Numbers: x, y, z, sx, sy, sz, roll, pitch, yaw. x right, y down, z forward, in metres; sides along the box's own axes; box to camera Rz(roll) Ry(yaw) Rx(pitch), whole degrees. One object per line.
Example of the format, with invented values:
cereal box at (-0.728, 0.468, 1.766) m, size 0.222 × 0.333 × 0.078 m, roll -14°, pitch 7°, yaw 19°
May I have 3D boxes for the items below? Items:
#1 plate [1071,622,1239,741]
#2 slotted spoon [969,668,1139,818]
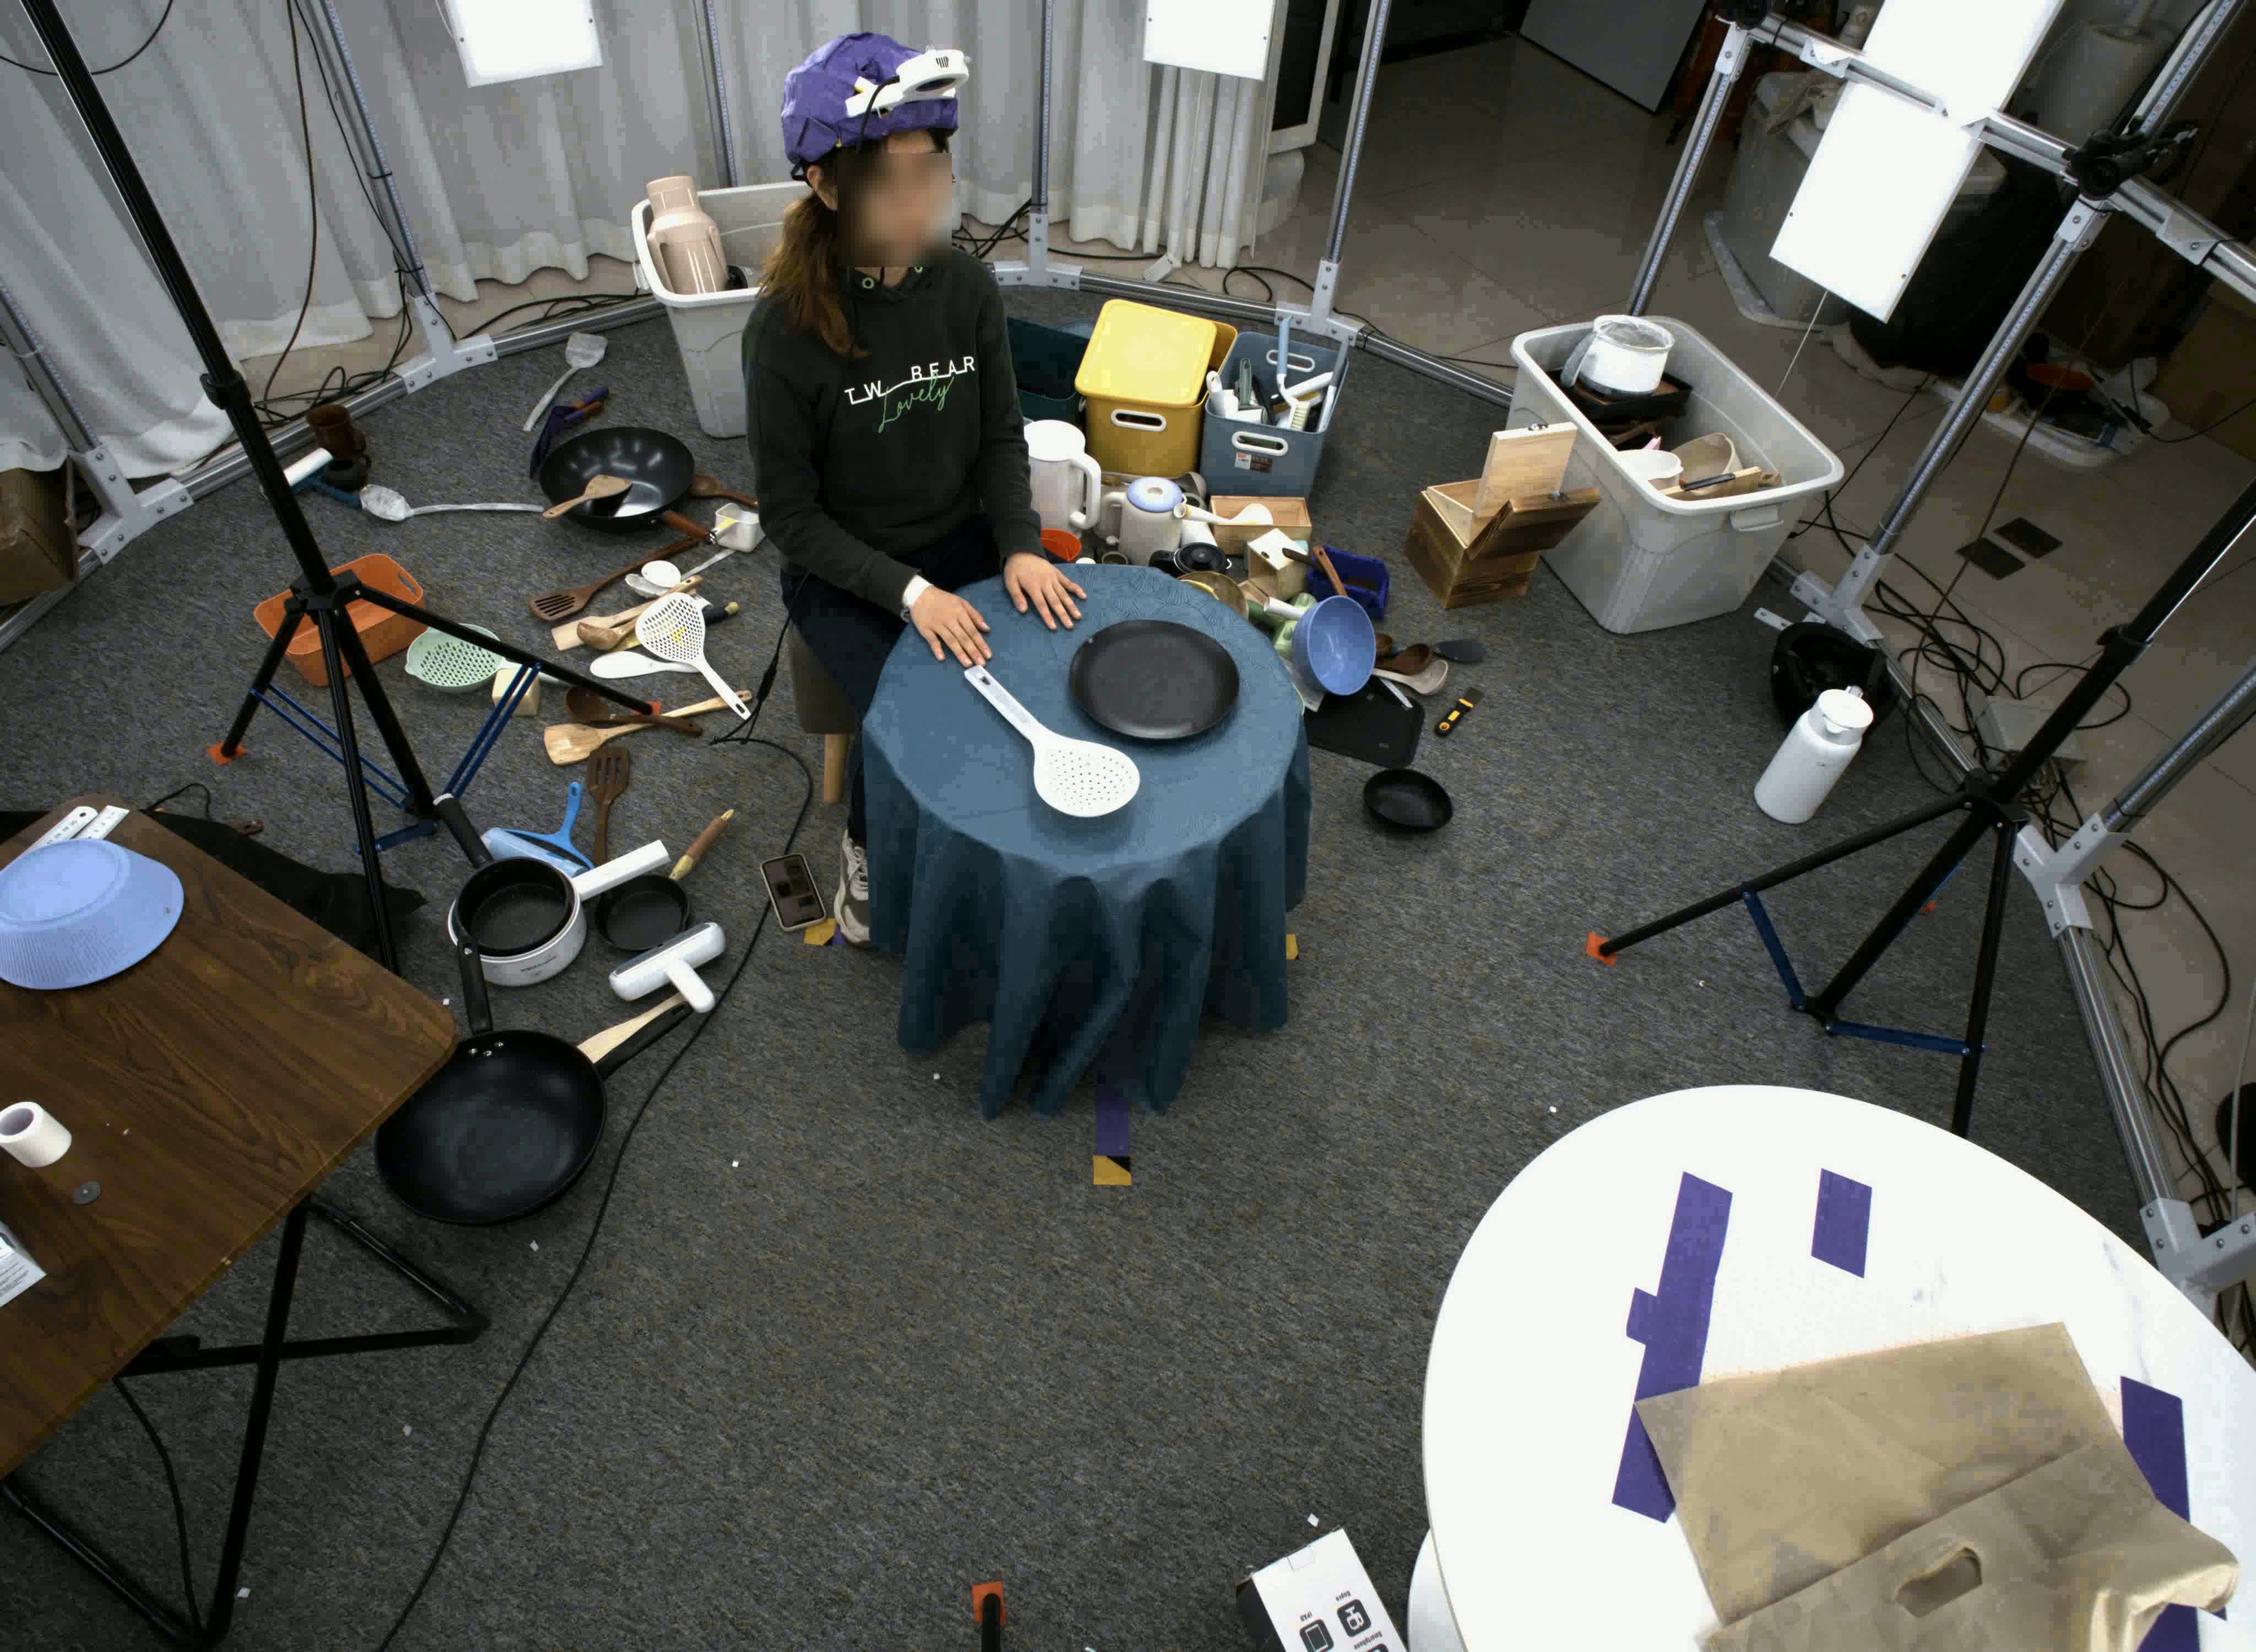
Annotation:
plate at (0.039, -0.207, 1.852) m, size 0.244 × 0.023 × 0.250 m, roll 2°, pitch 49°, yaw -2°
slotted spoon at (-0.118, -0.119, 1.750) m, size 0.136 × 0.044 × 0.356 m, roll -25°, pitch 54°, yaw -26°
